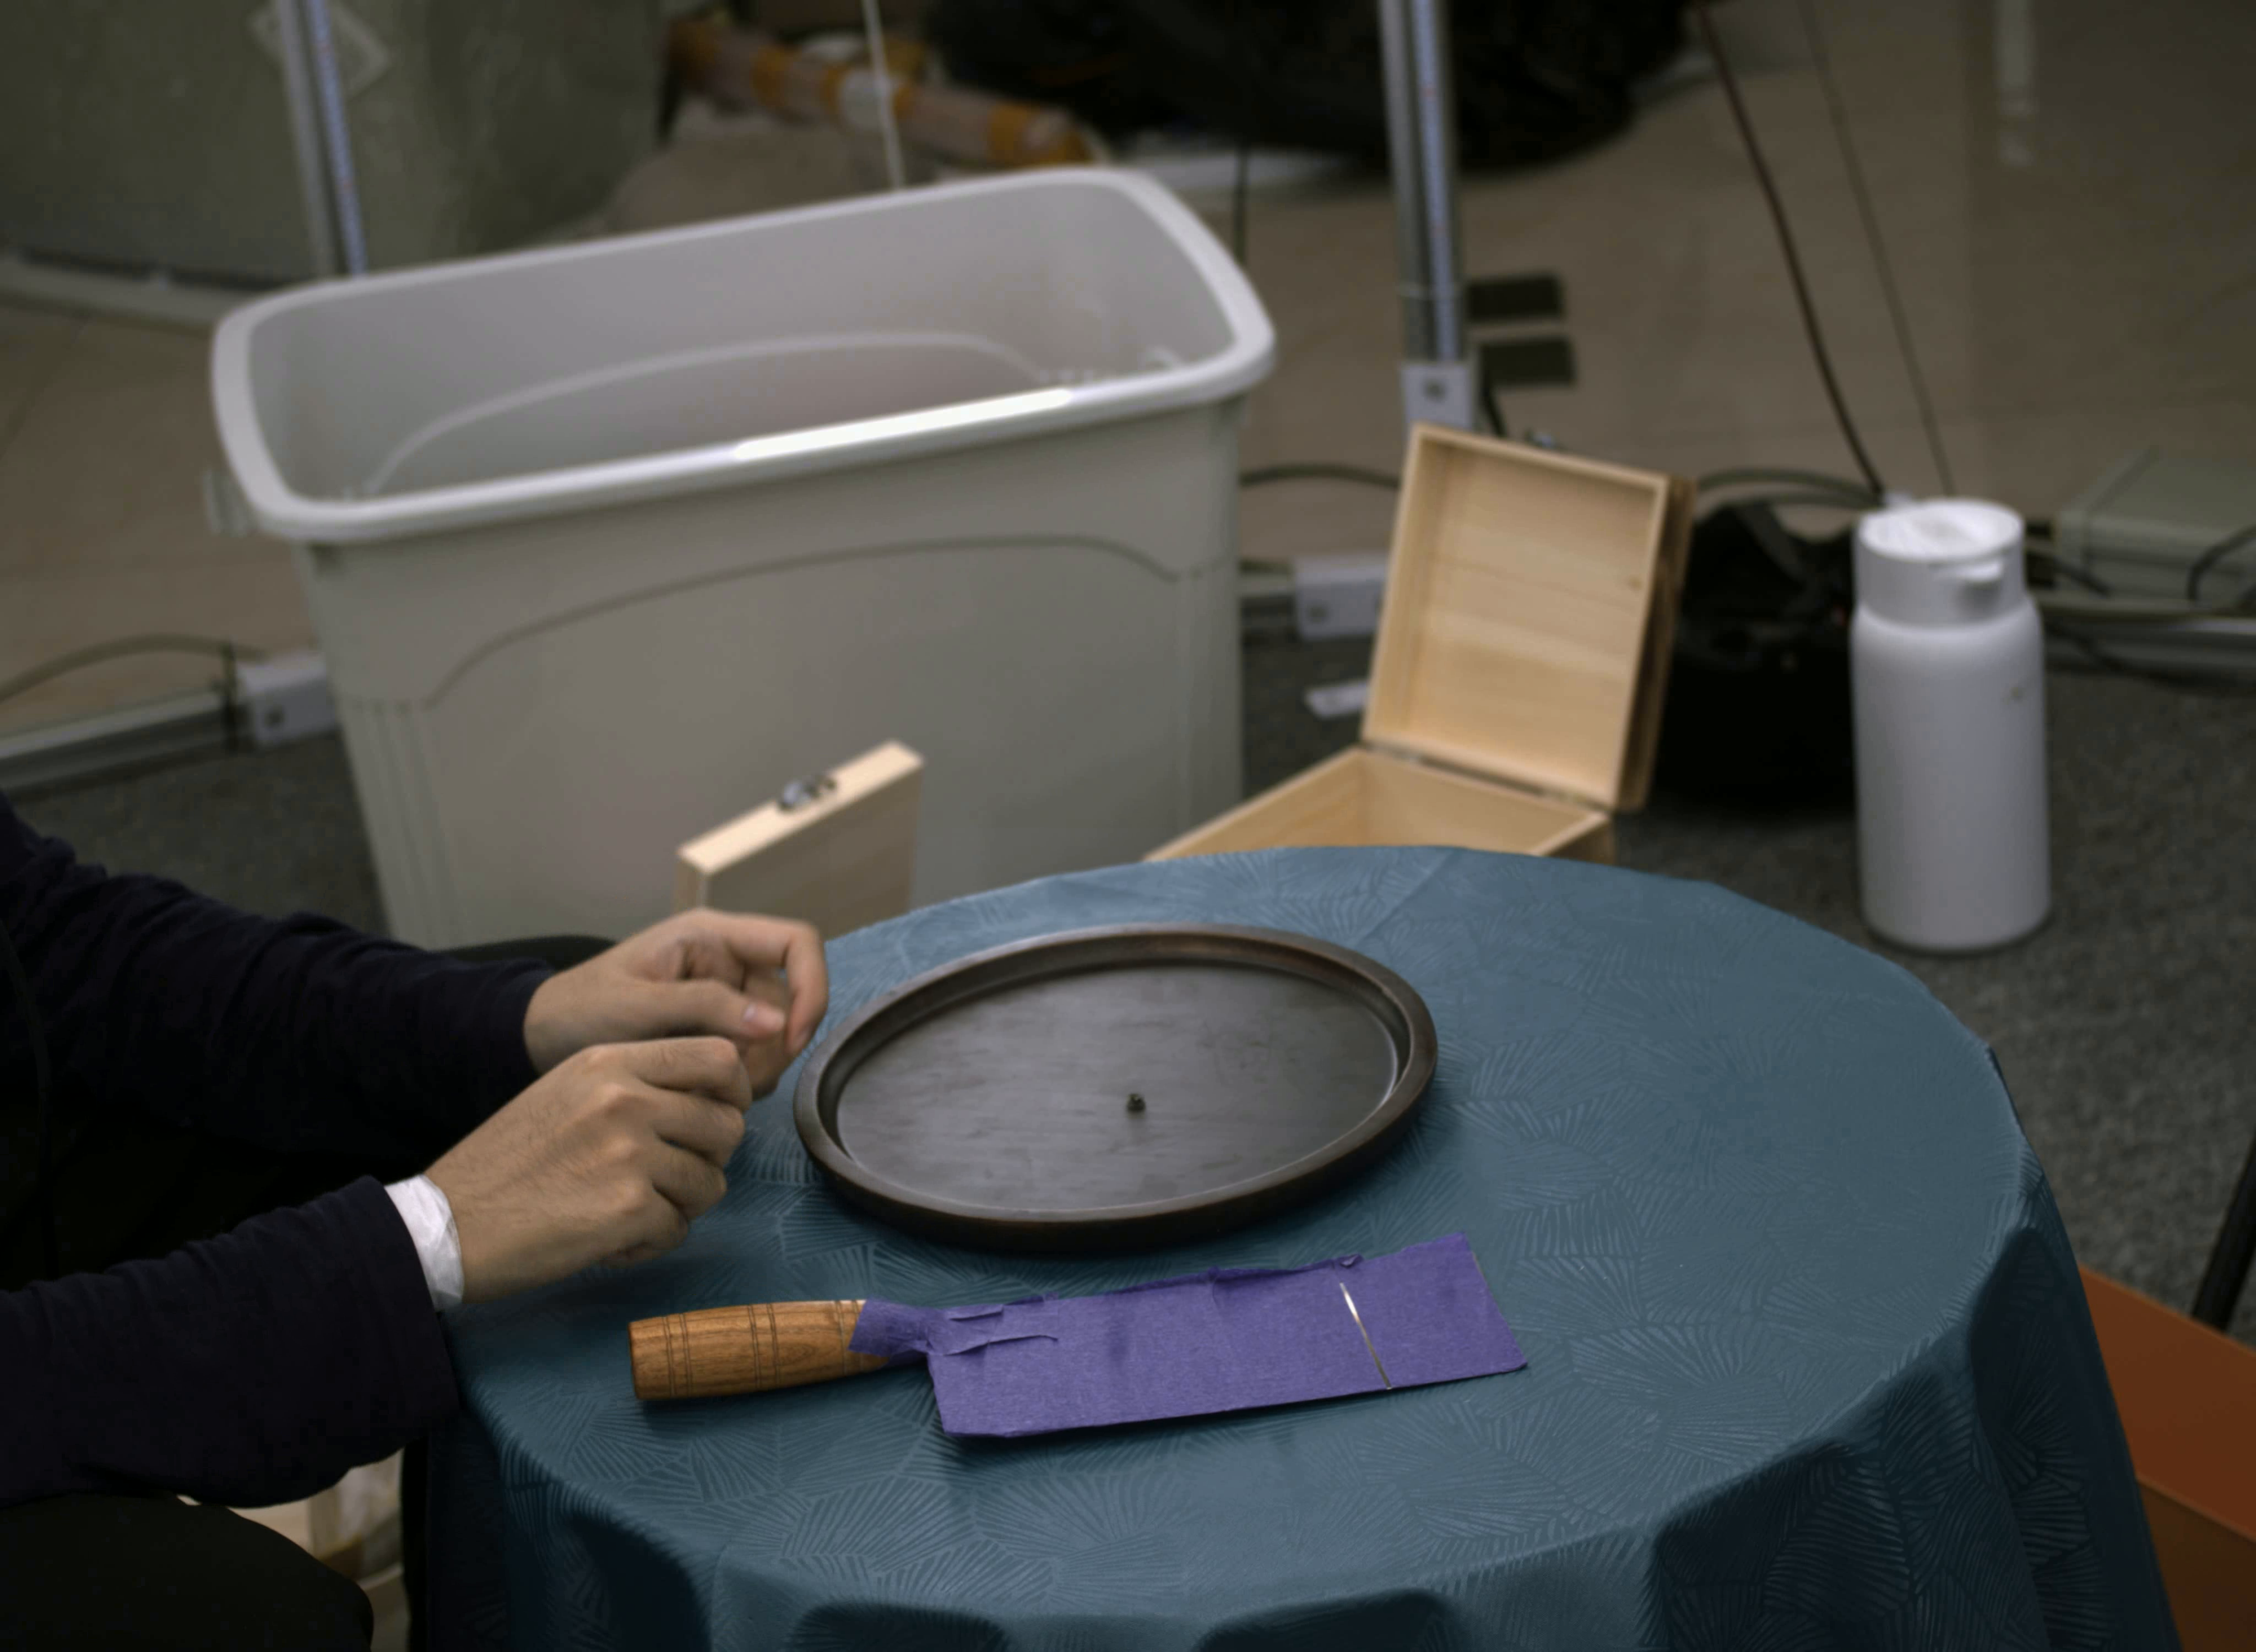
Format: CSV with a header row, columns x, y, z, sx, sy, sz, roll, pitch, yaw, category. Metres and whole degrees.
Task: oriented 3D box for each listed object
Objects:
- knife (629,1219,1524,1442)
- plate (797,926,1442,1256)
x,y,z,sx,sy,sz,roll,pitch,yaw,category
-0.019,0.185,2.024,0.314,0.033,0.102,-9,25,-6,knife
-0.003,0.101,2.205,0.254,0.029,0.251,-5,25,2,plate
